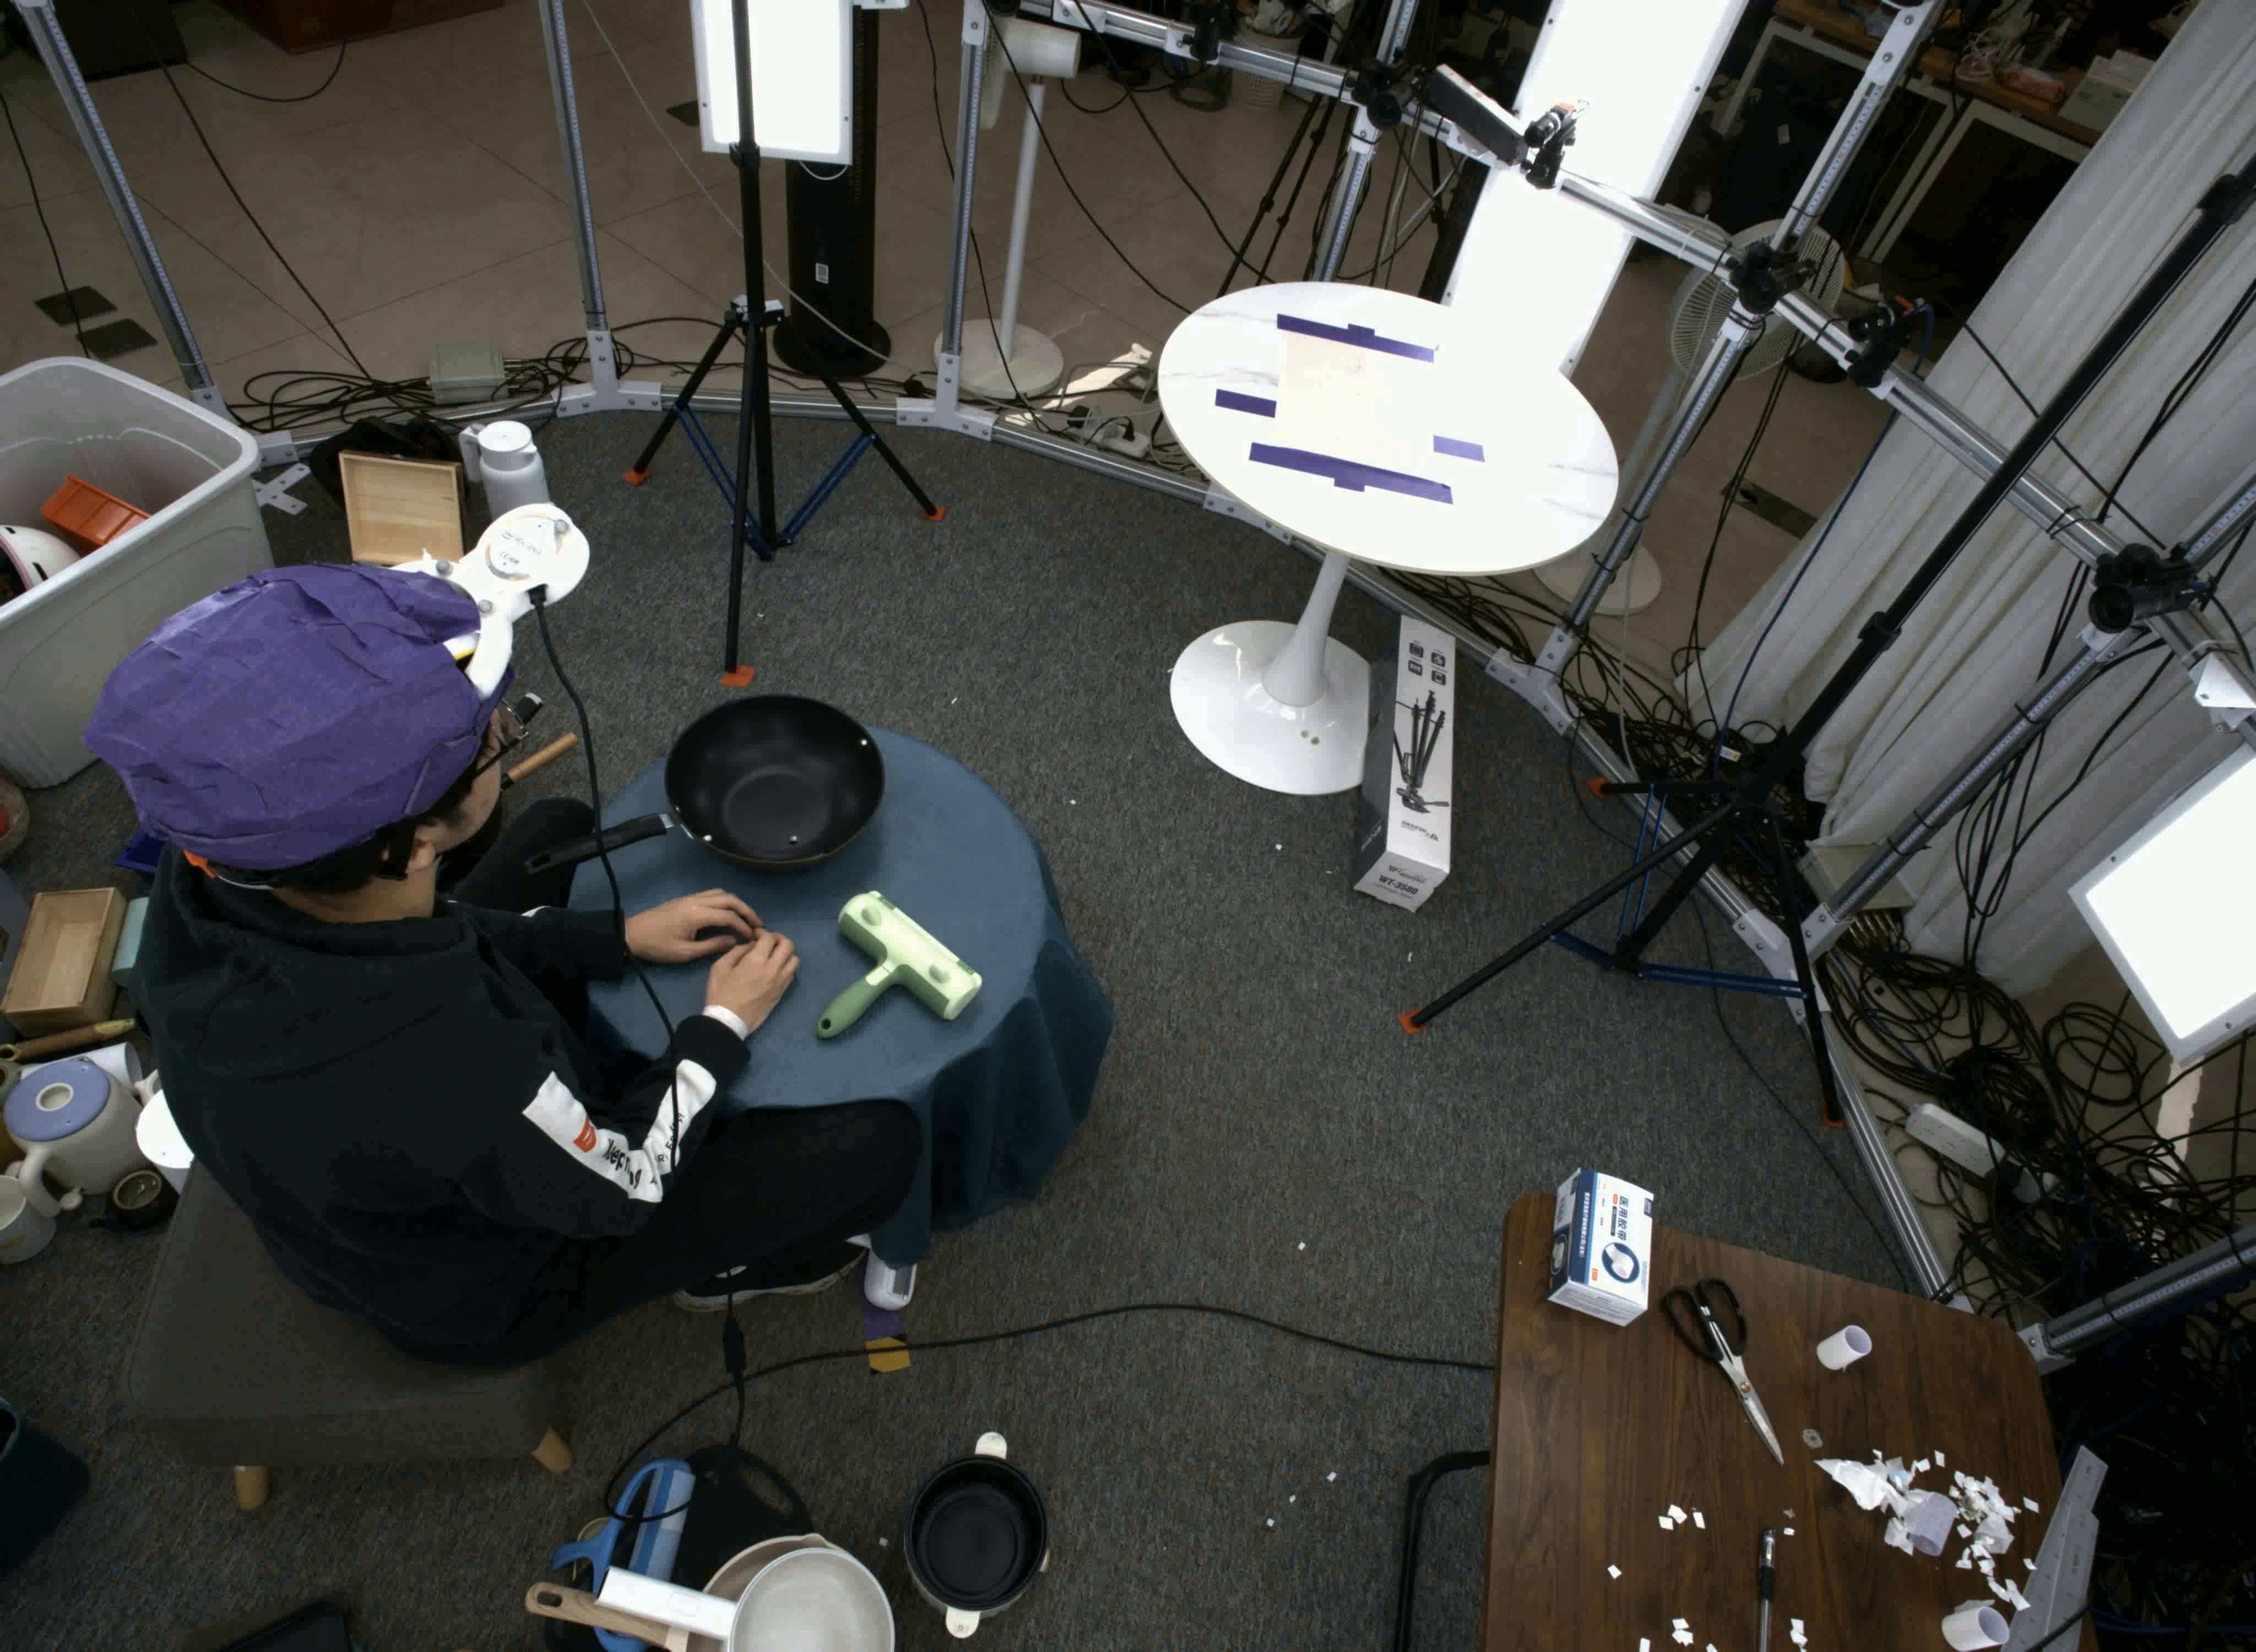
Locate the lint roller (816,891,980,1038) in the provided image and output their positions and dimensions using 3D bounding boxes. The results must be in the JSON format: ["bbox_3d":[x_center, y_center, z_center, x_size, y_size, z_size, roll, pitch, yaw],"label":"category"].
[{"bbox_3d":[-0.308,0.180,1.579,0.195,0.084,0.183,38,49,14],"label":"lint roller"}]

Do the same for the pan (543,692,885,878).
[{"bbox_3d":[-0.532,-0.011,1.655,0.465,0.088,0.281,-26,63,-28],"label":"pan"}]
